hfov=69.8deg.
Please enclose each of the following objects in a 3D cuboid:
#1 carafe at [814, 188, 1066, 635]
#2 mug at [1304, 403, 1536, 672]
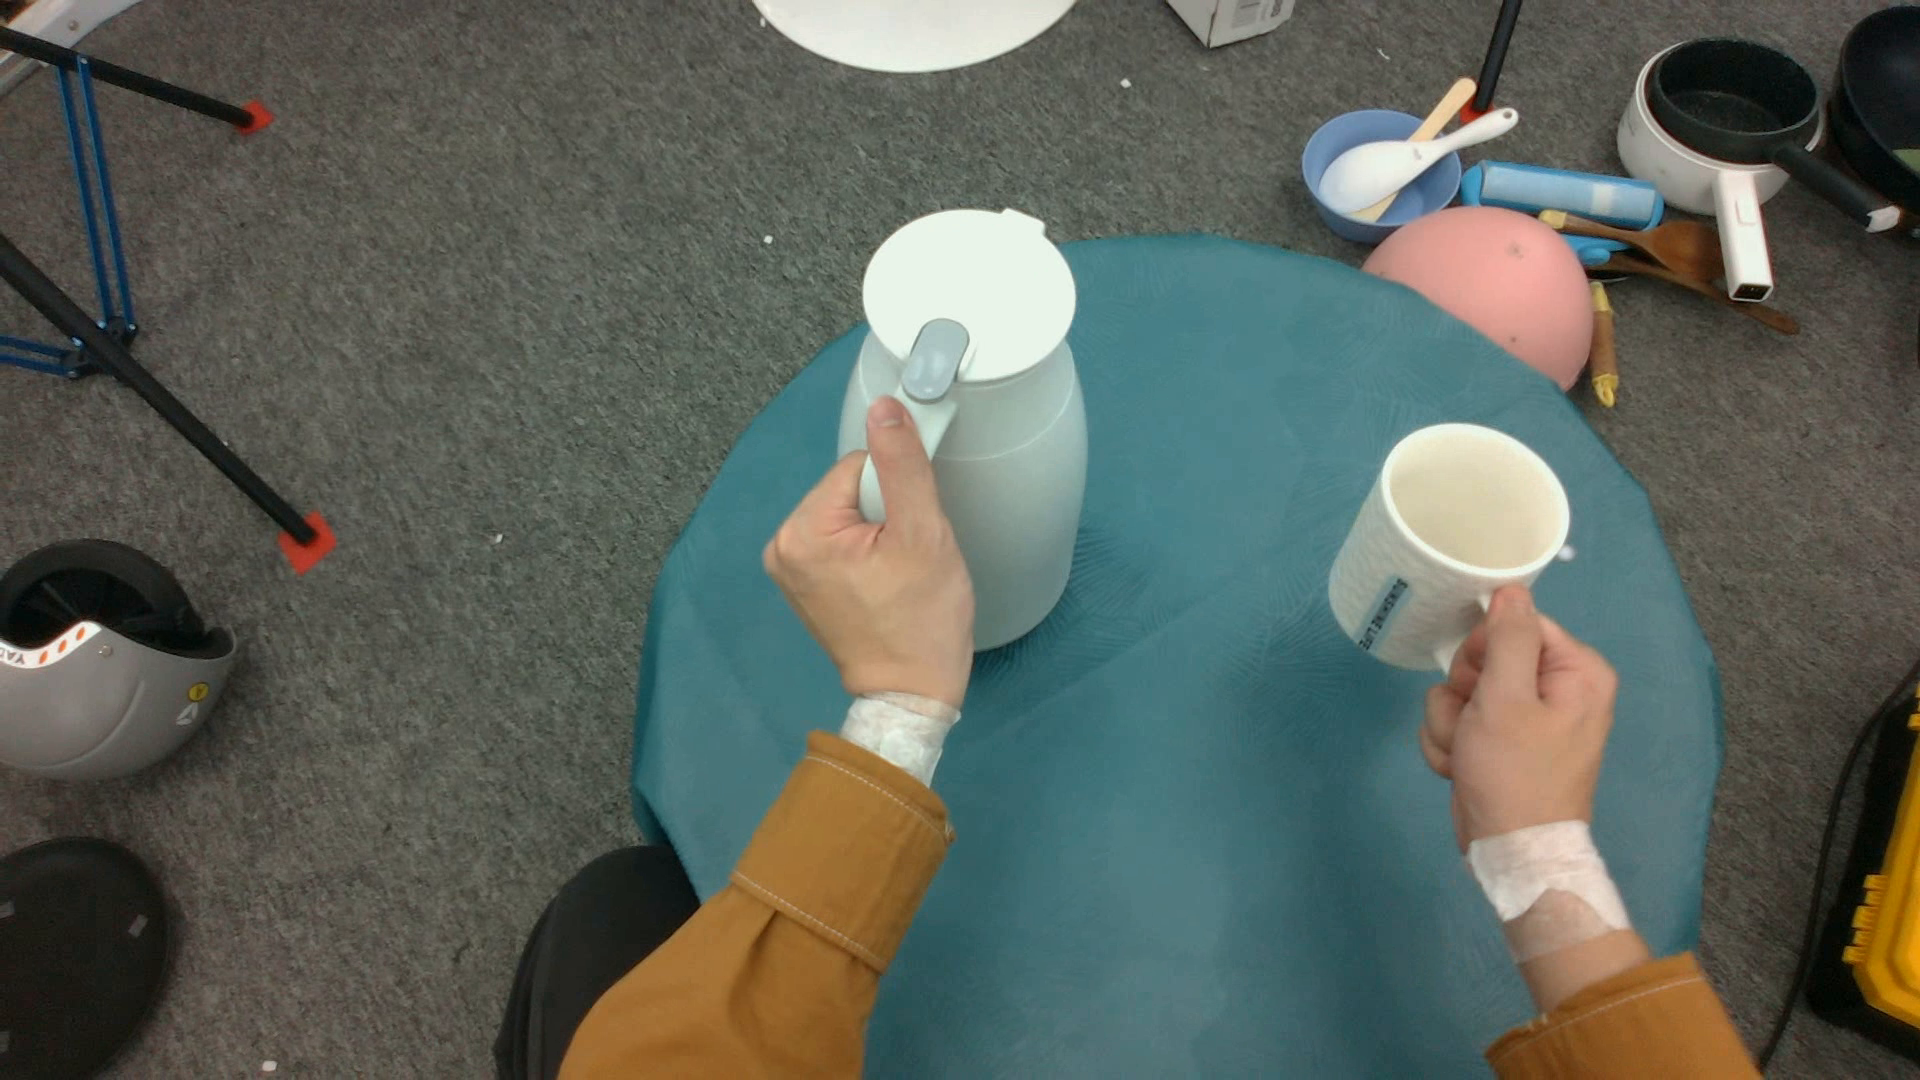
[{"bbox_3d":[-0.016,-0.046,0.681,0.132,0.247,0.168,22,64,8],"label":"carafe"},{"bbox_3d":[0.227,0.010,0.677,0.085,0.101,0.118,-8,59,-8],"label":"mug"}]
